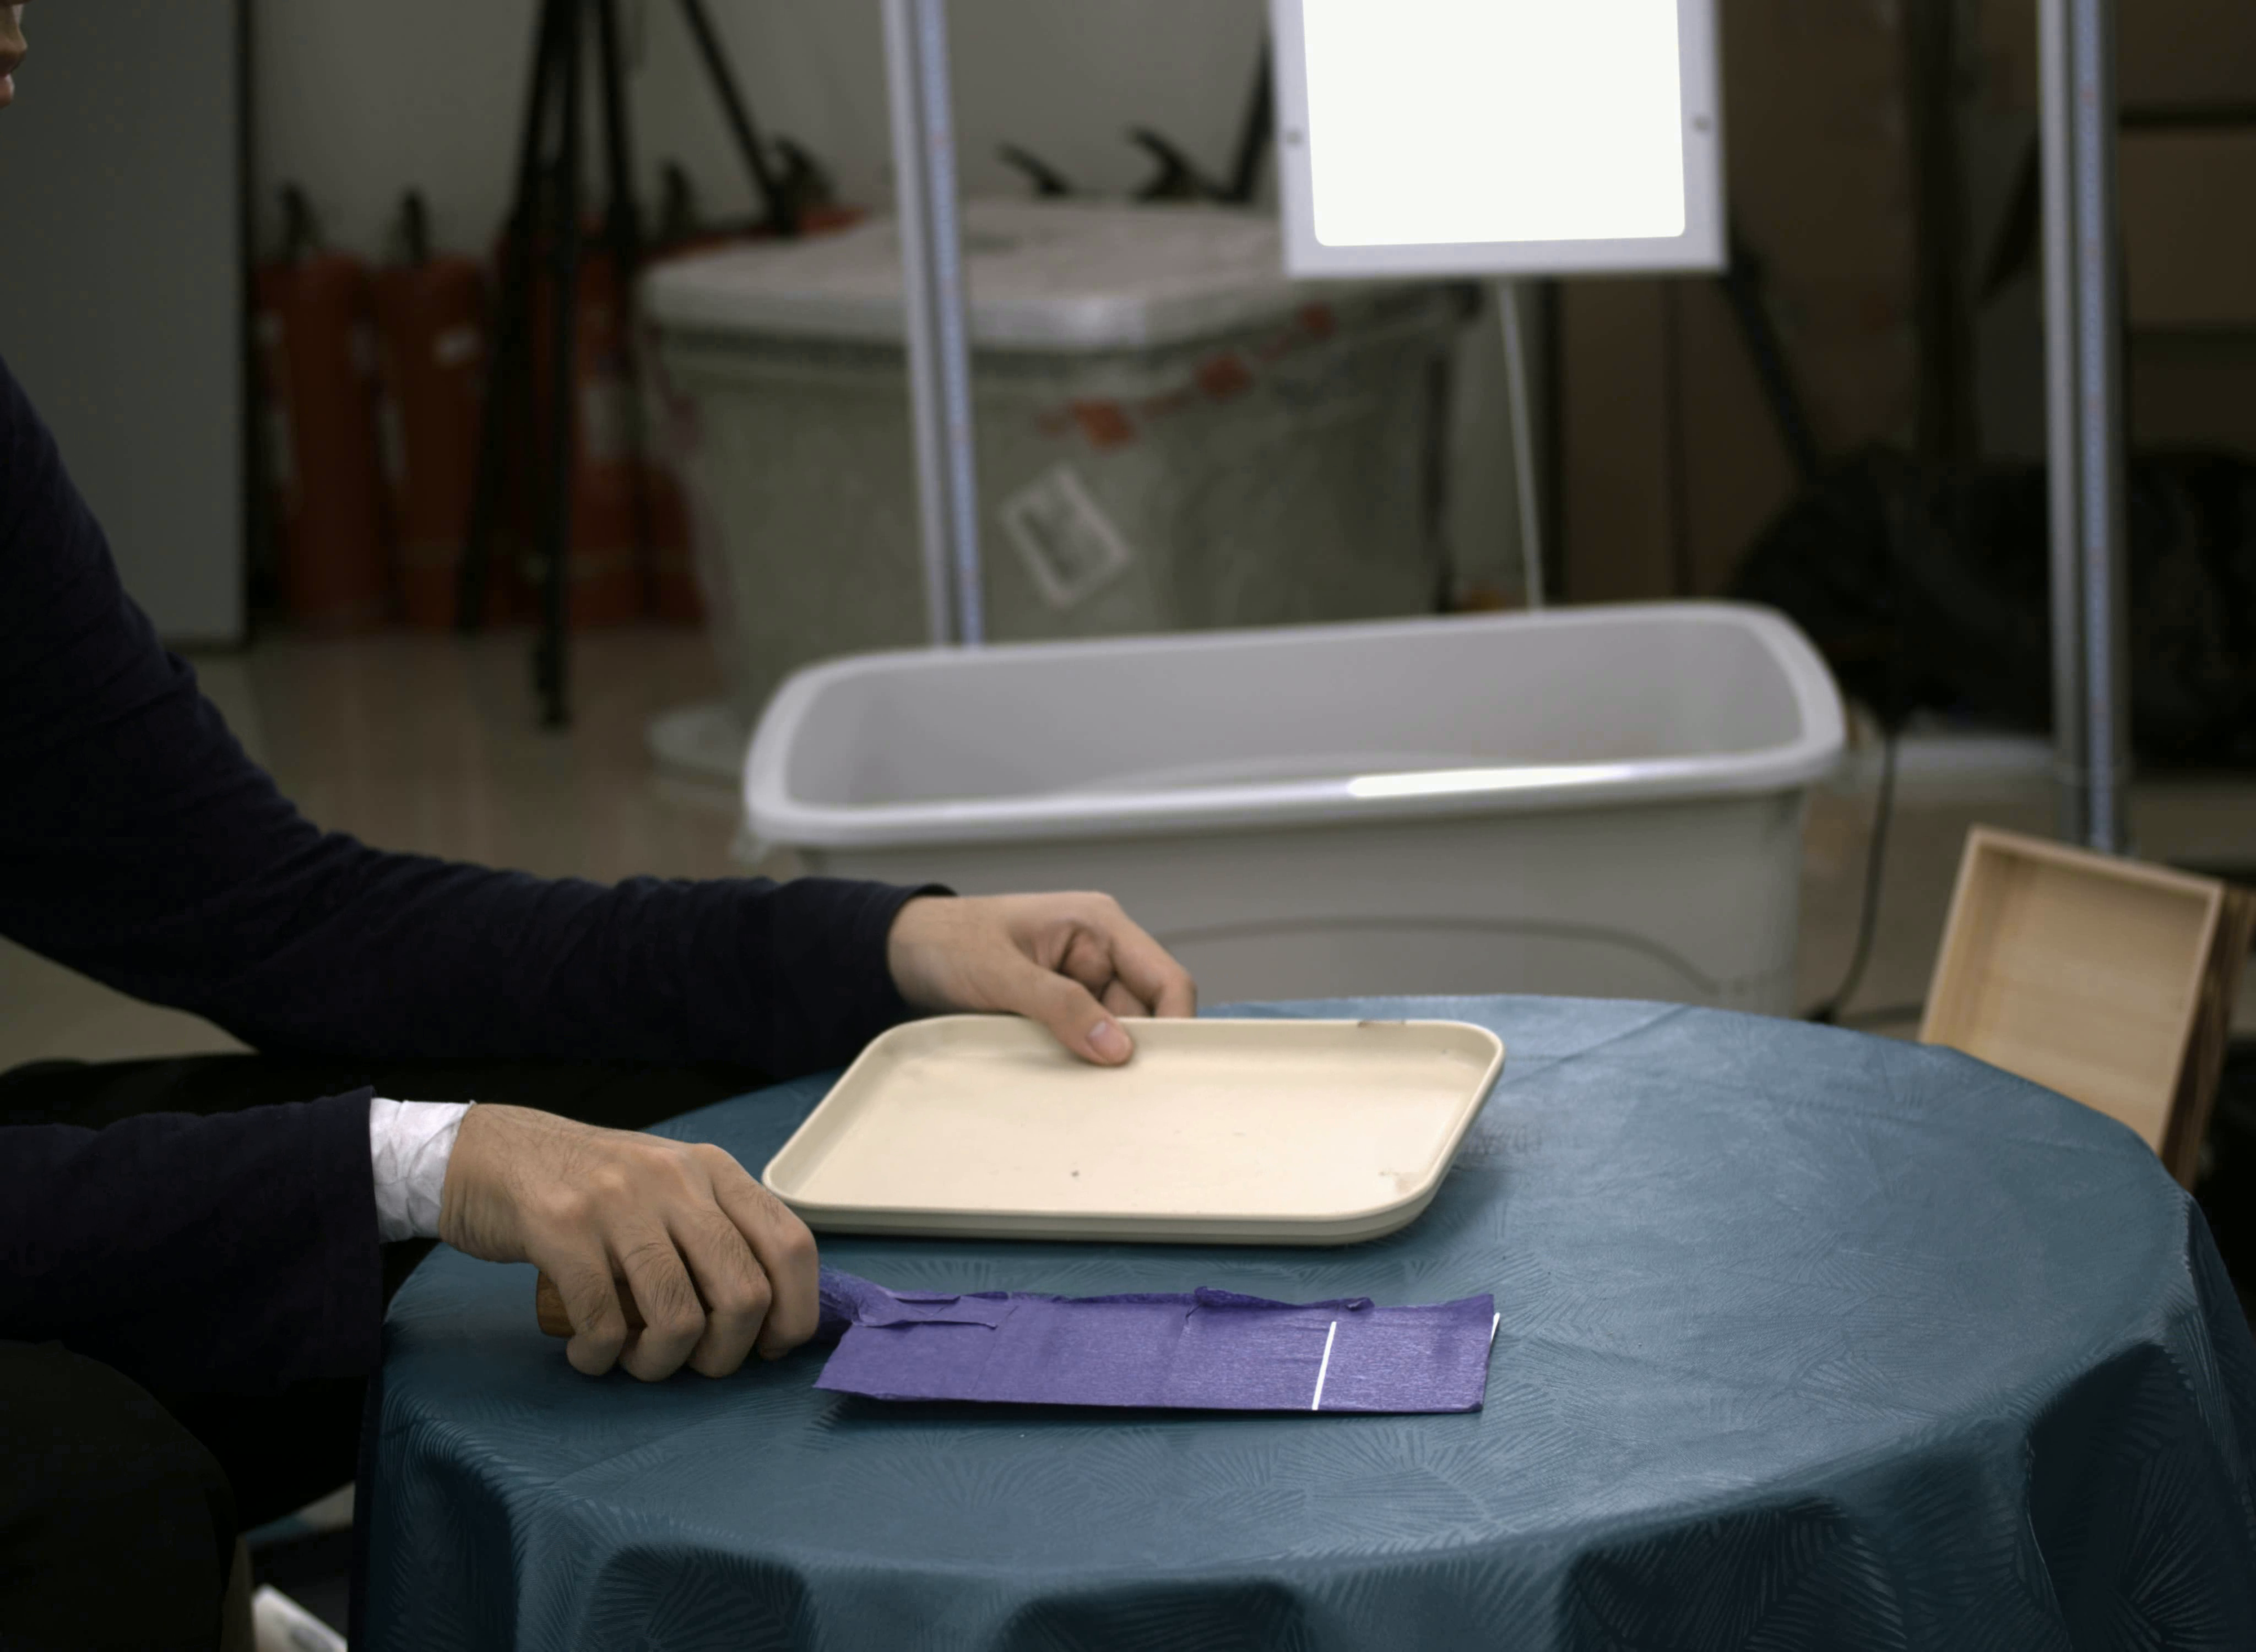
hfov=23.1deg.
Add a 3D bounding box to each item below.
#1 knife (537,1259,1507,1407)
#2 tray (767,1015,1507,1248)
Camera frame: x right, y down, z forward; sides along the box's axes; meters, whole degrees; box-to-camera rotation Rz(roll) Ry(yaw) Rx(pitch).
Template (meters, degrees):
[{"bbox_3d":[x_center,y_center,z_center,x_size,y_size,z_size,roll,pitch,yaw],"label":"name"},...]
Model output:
[{"bbox_3d":[-0.039,0.159,1.729,0.317,0.032,0.103,-2,13,11],"label":"knife"},{"bbox_3d":[0.005,0.106,1.917,0.243,0.017,0.168,0,21,20],"label":"tray"}]
